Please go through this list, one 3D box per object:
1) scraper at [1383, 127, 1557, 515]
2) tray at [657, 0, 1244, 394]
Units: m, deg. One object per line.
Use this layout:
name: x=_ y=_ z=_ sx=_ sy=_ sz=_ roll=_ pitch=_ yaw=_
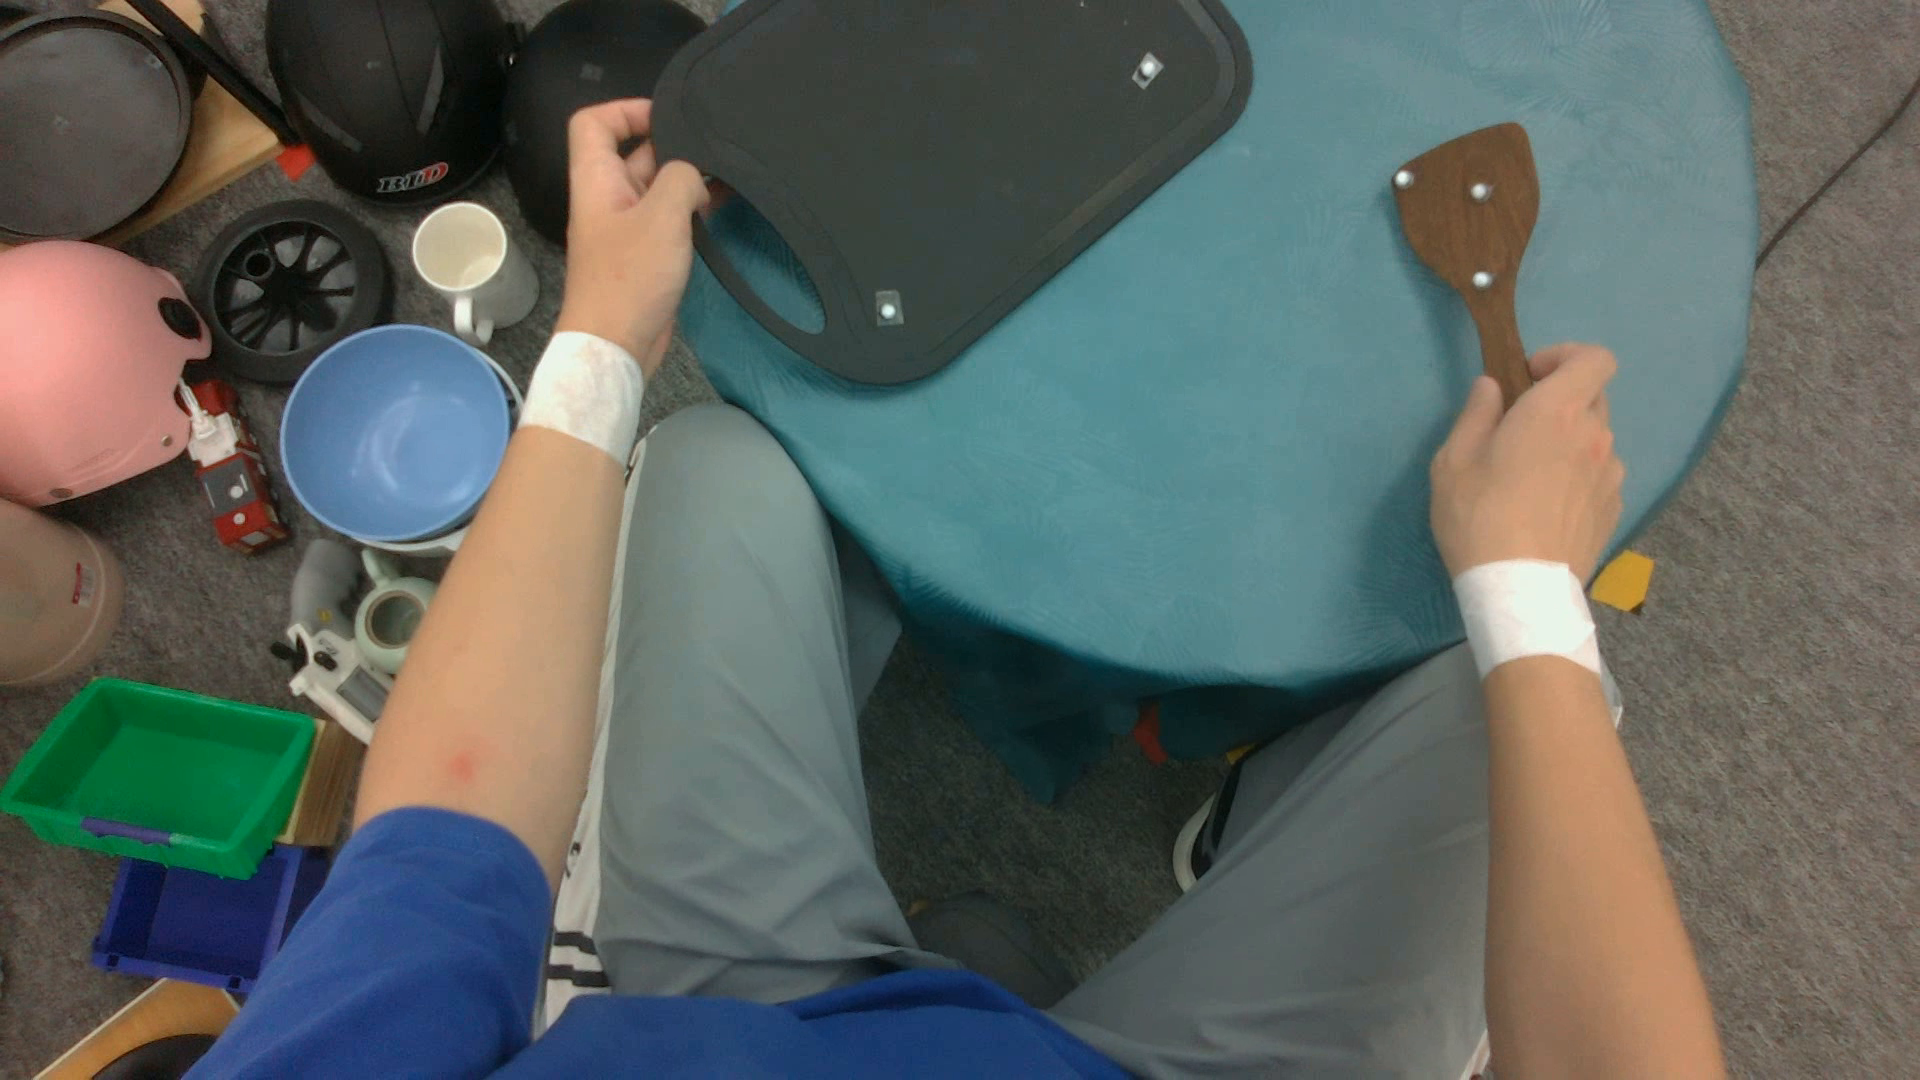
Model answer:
scraper: x=0.280 y=-0.116 z=0.732 sx=0.075 sy=0.011 sz=0.211 roll=-17 pitch=72 yaw=33
tray: x=-0.002 y=-0.232 z=0.756 sx=0.326 sy=0.010 sz=0.211 roll=-41 pitch=97 yaw=-11
